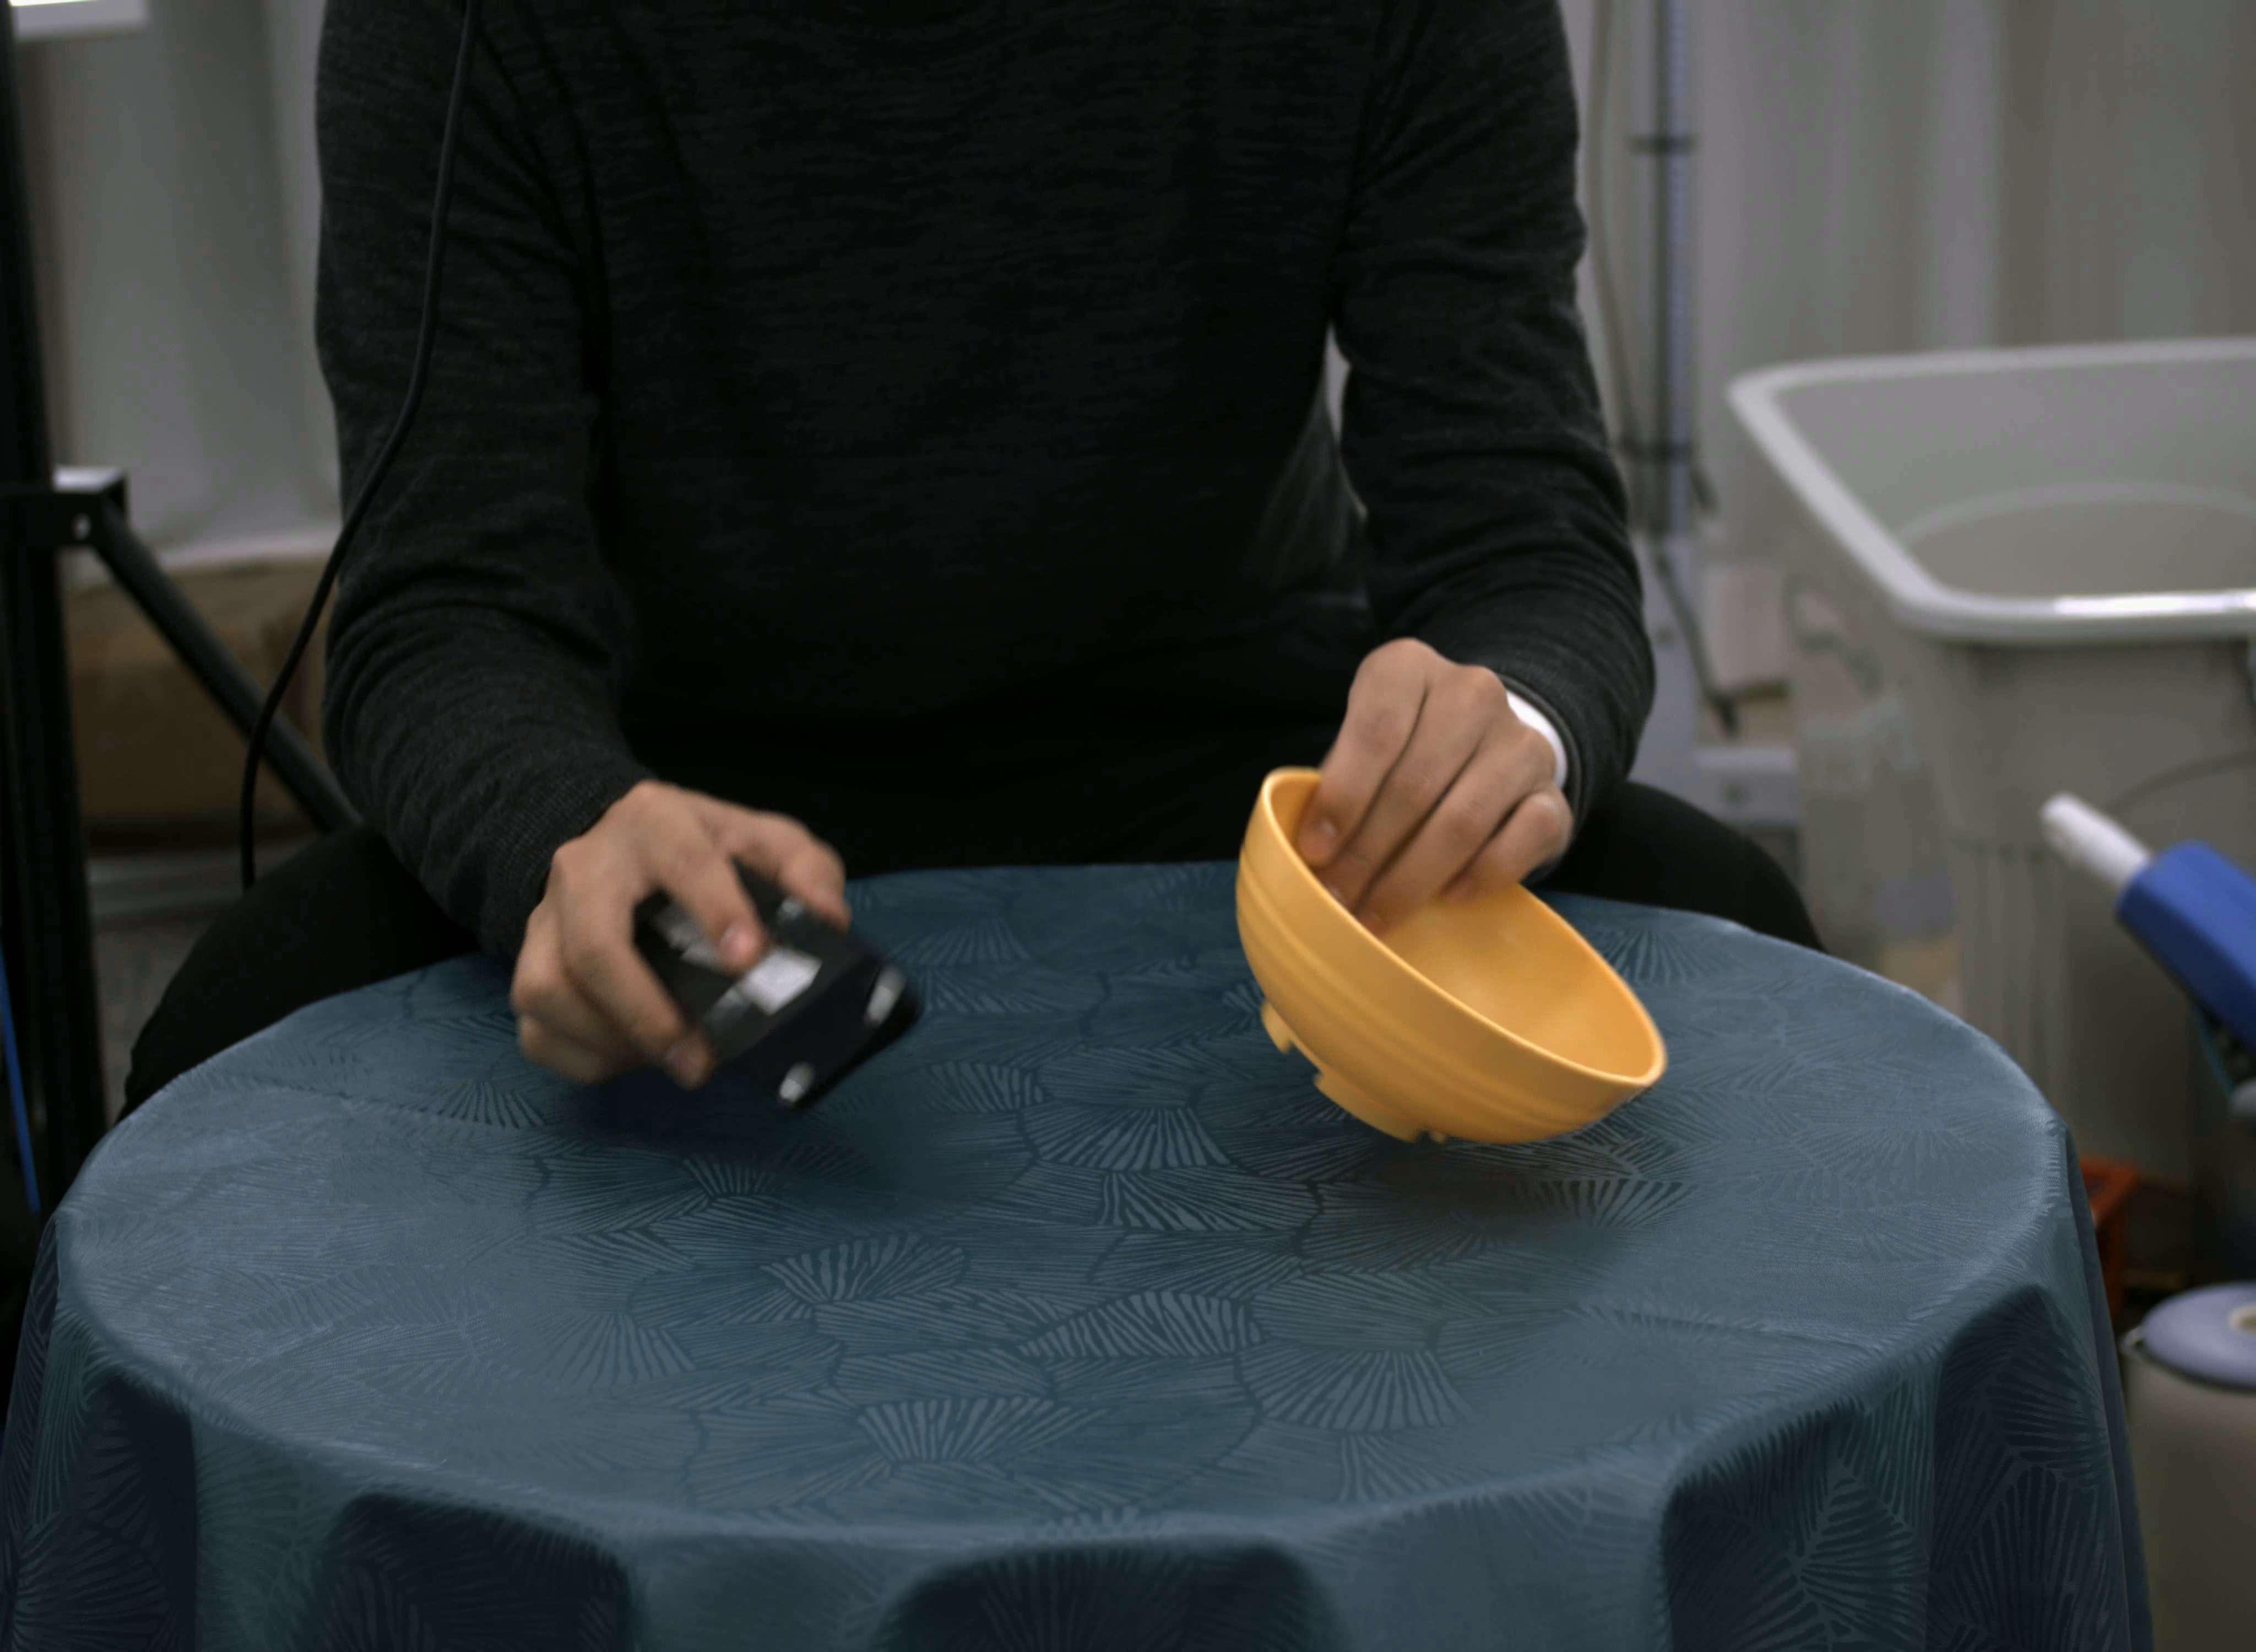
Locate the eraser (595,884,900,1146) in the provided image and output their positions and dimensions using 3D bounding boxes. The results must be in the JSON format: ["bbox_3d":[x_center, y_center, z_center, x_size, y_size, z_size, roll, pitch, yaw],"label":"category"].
[{"bbox_3d":[-0.114,0.055,1.596,0.053,0.030,0.128,-34,25,-12],"label":"eraser"}]

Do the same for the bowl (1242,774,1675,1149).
[{"bbox_3d":[0.086,0.052,1.558,0.143,0.060,0.146,29,19,-12],"label":"bowl"}]
